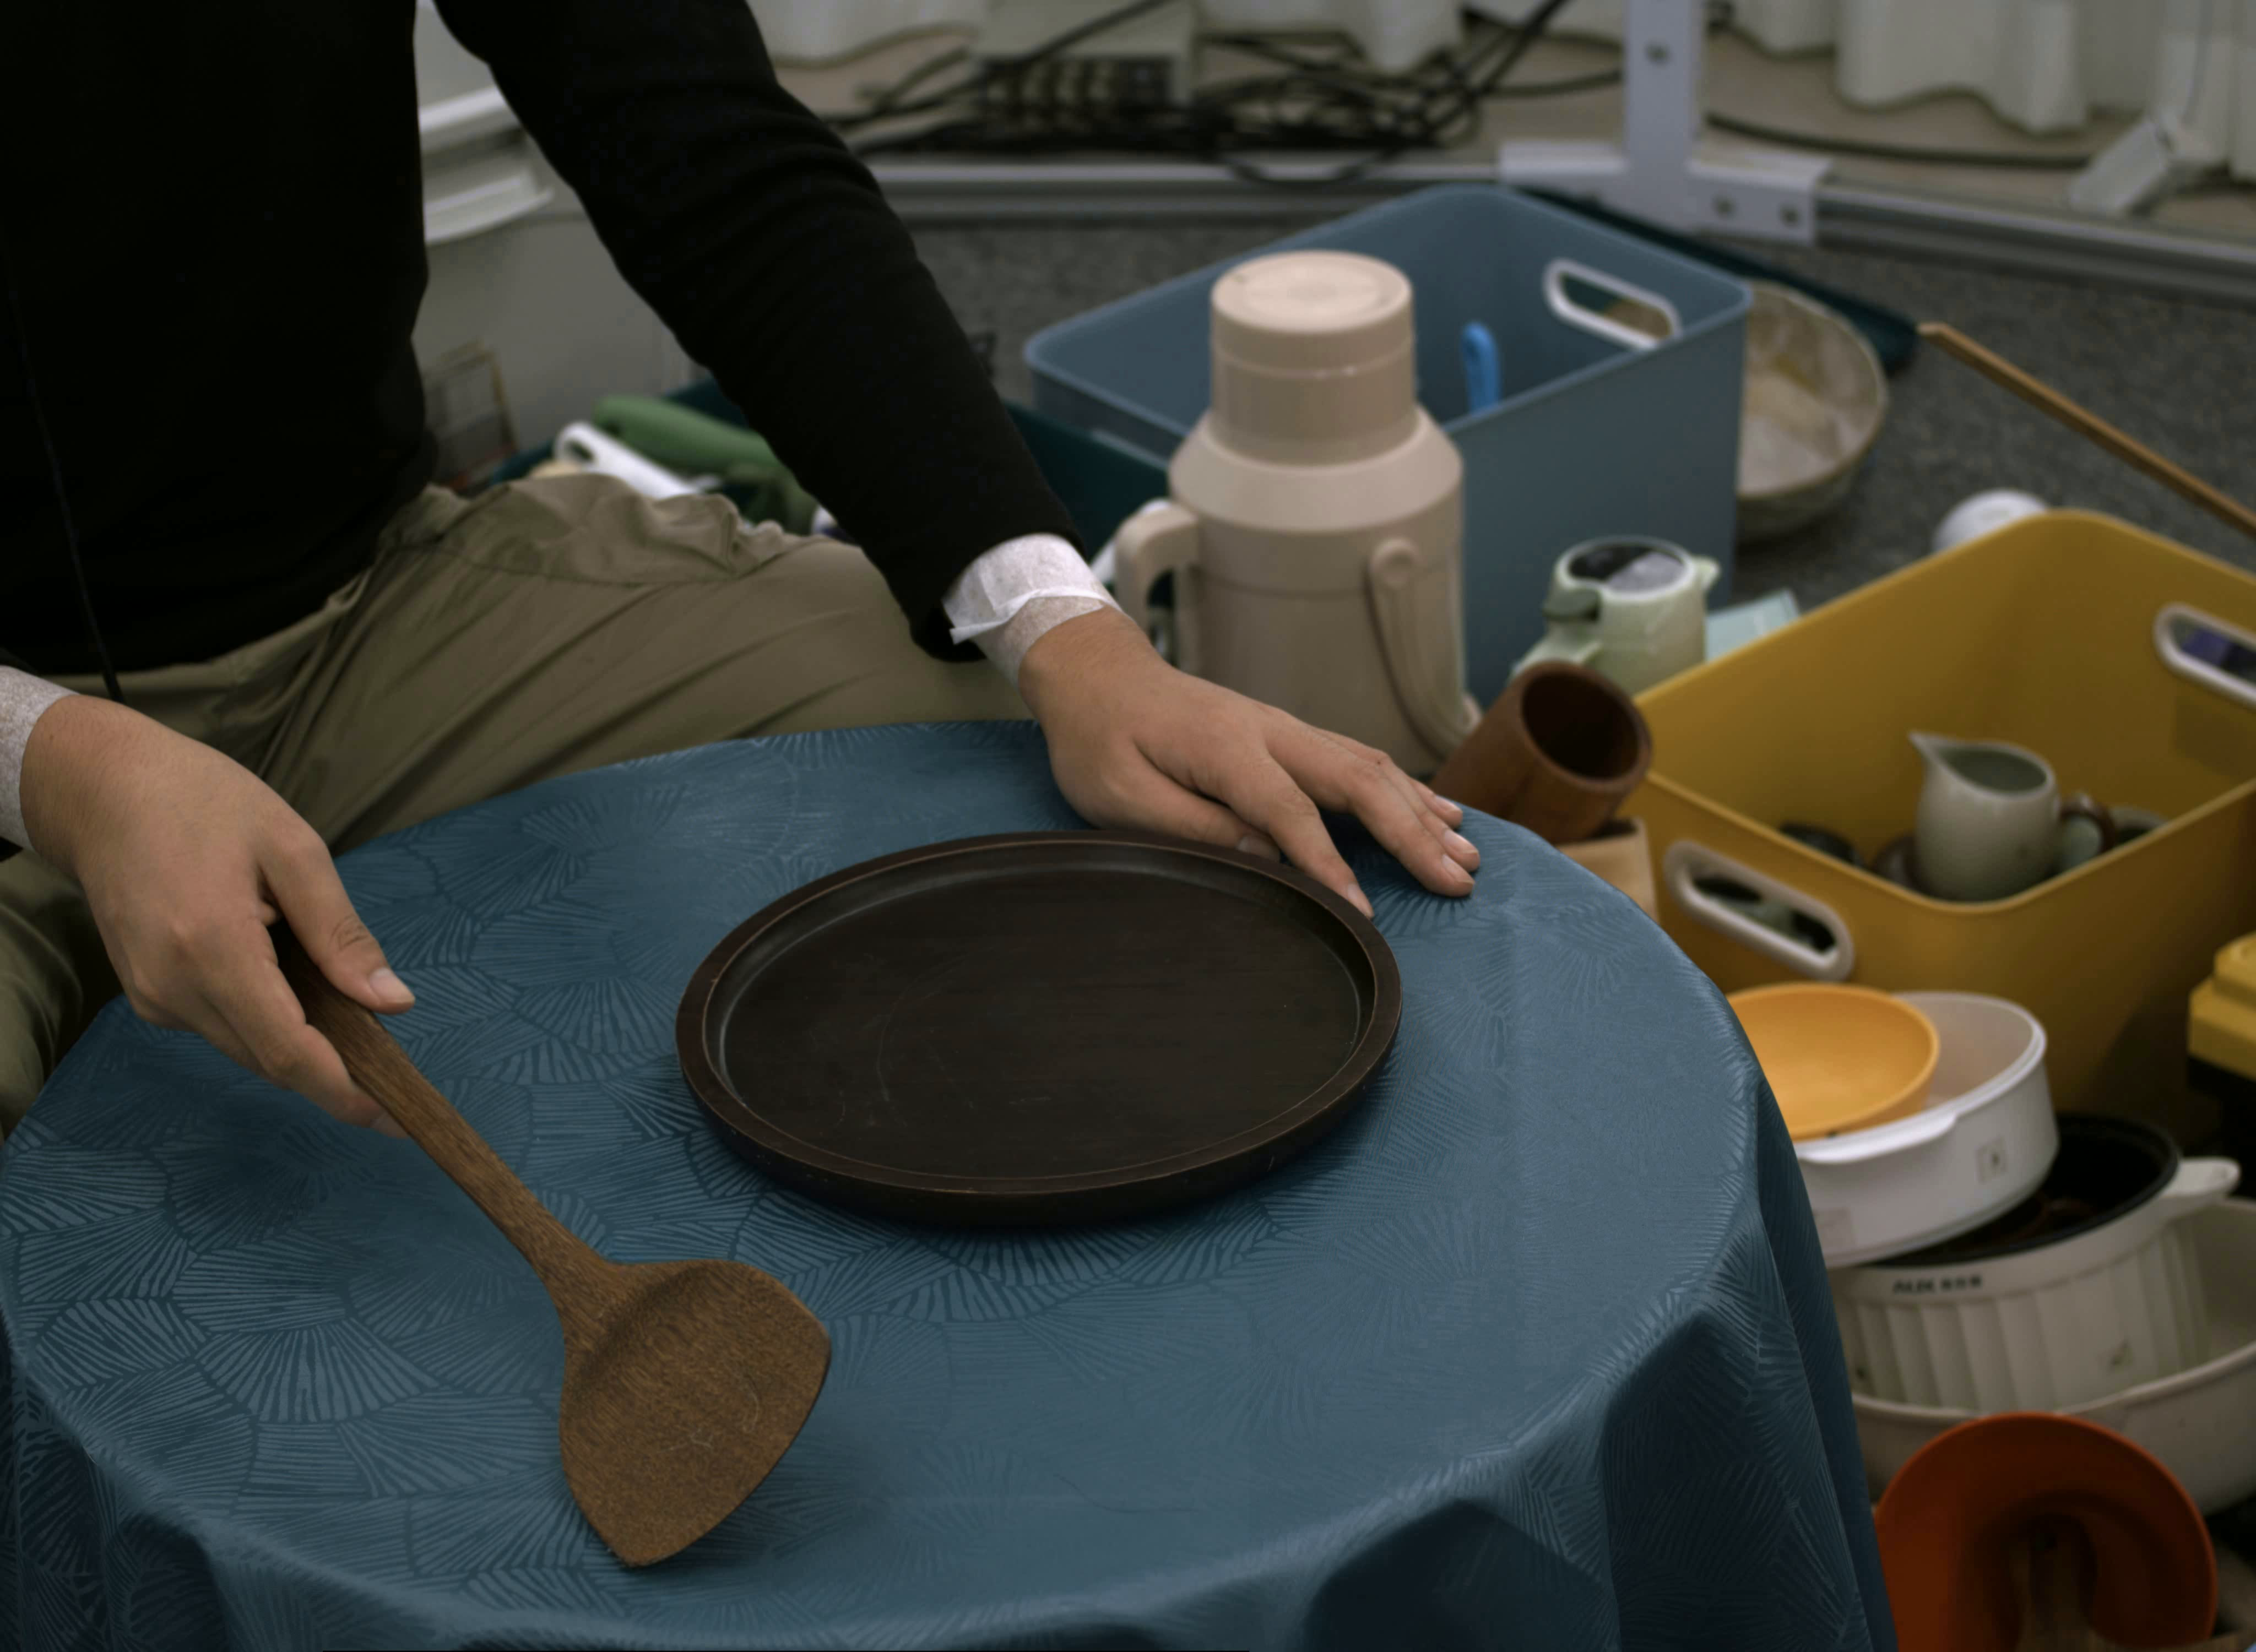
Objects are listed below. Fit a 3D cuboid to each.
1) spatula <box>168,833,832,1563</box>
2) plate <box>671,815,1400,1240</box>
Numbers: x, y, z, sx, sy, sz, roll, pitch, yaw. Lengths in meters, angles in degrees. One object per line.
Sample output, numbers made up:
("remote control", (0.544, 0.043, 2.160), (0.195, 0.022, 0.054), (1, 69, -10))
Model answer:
("spatula", (-0.217, 0.102, 1.801), (0.096, 0.015, 0.388), (-49, 48, -1))
("plate", (-0.031, 0.070, 1.940), (0.253, 0.029, 0.259), (-2, 29, 2))
